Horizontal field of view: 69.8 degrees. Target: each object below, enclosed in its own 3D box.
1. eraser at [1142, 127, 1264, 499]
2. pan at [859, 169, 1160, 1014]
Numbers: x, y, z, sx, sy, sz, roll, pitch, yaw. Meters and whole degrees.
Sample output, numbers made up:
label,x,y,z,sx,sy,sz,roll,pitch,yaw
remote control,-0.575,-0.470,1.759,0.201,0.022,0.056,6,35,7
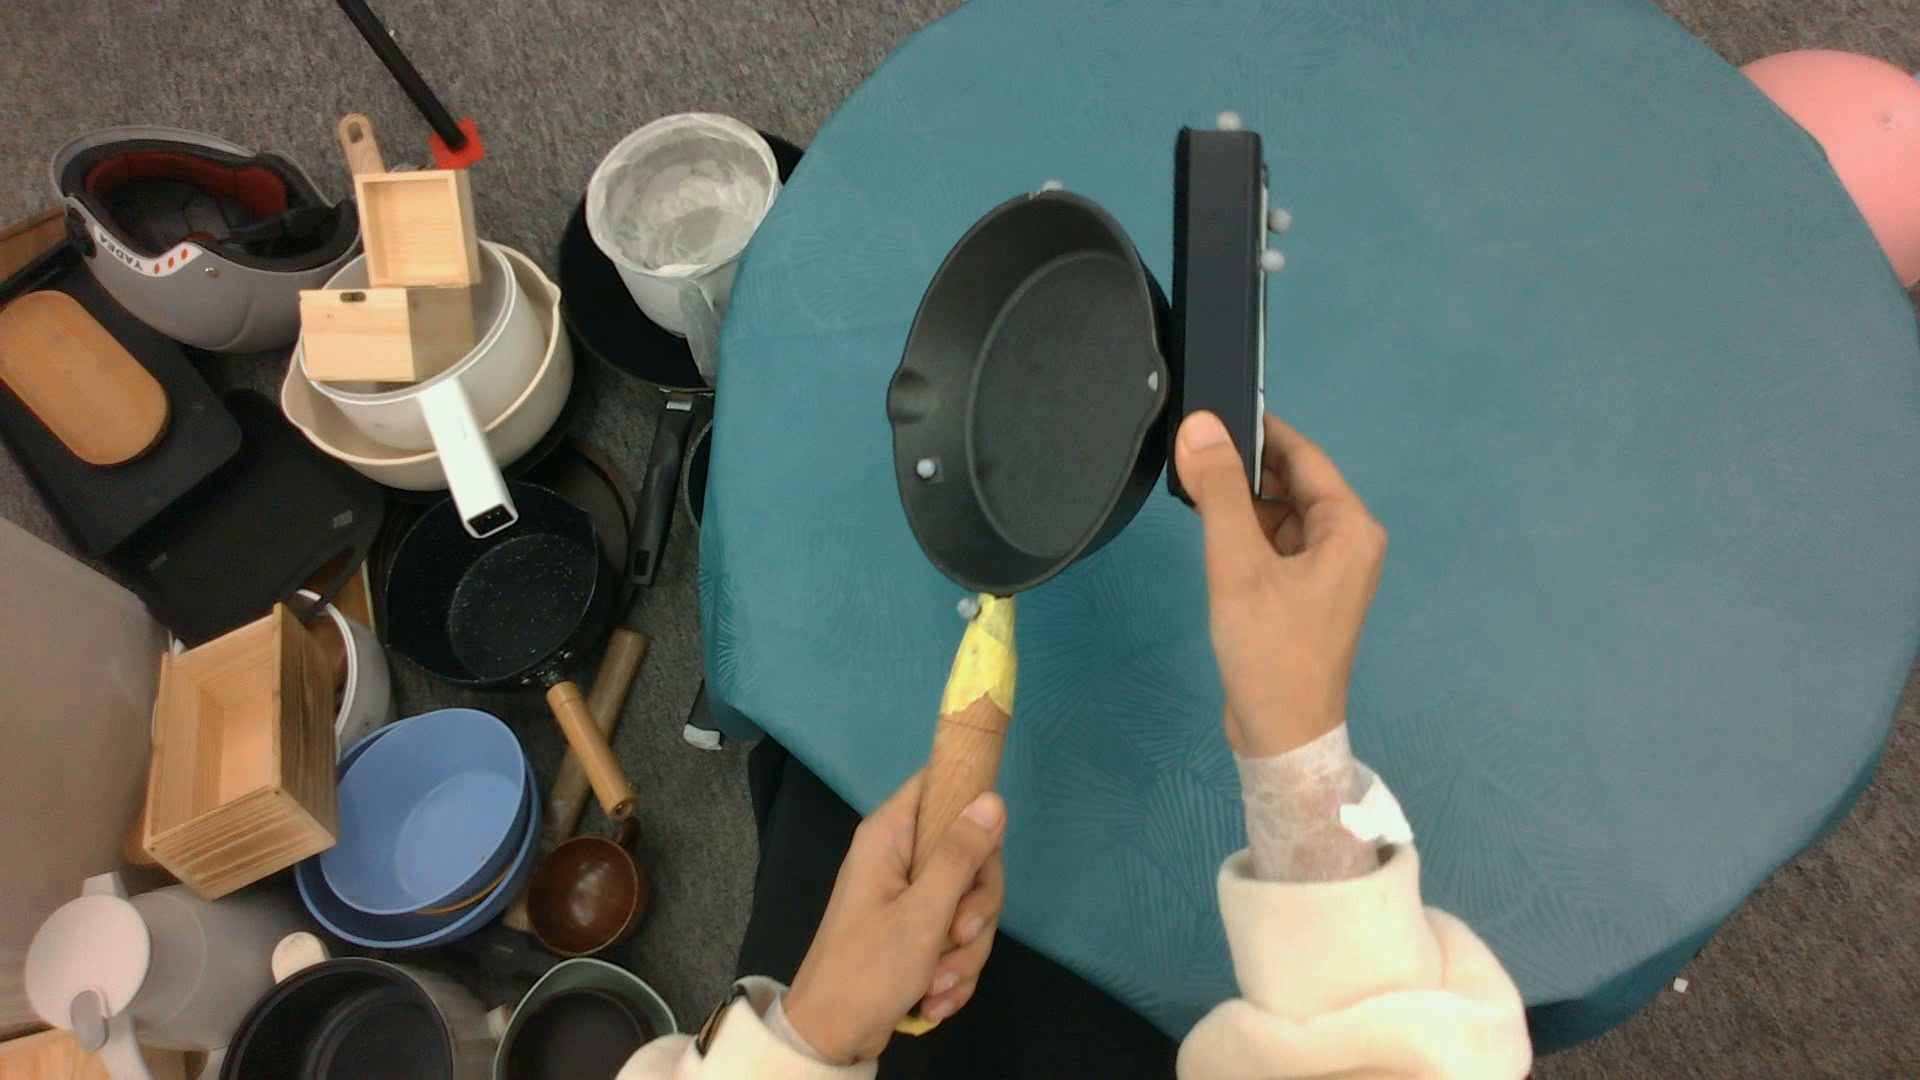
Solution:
label,x,y,z,sx,sy,sz,roll,pitch,yaw
eraser,0.087,-0.079,0.490,0.030,0.053,0.125,3,87,18
pan,0.007,0.020,0.533,0.049,0.168,0.324,9,90,-37
